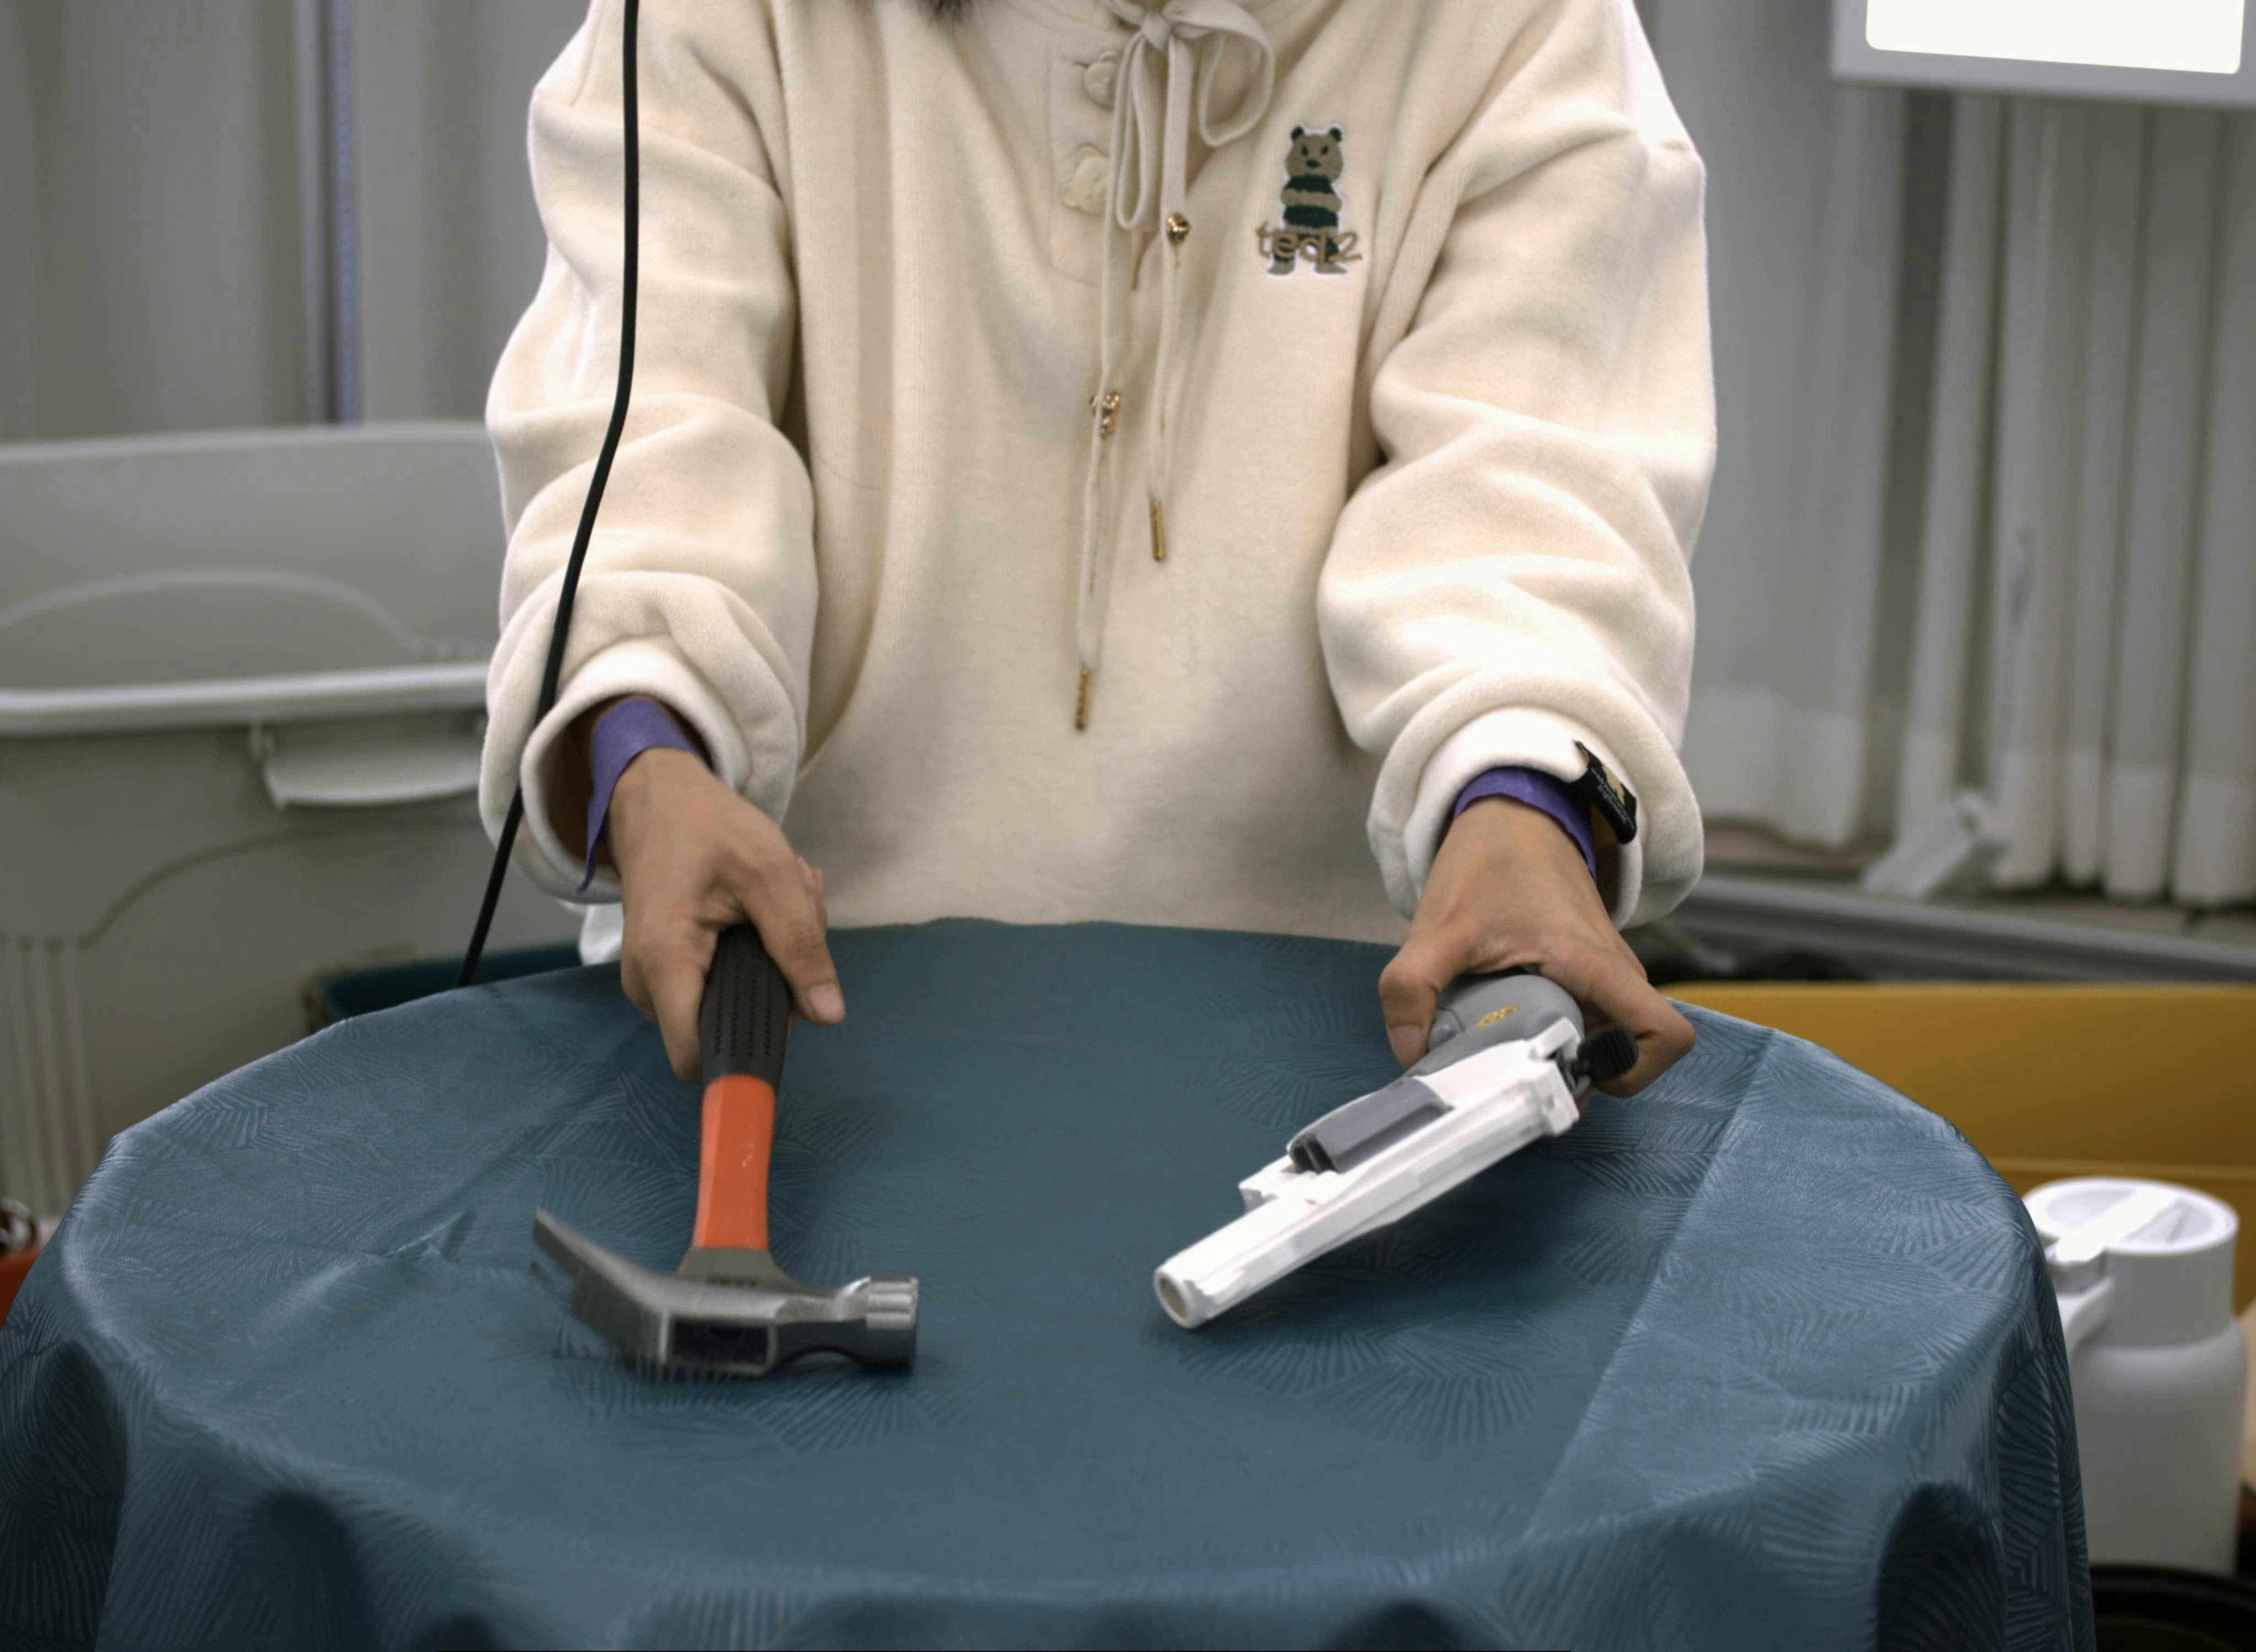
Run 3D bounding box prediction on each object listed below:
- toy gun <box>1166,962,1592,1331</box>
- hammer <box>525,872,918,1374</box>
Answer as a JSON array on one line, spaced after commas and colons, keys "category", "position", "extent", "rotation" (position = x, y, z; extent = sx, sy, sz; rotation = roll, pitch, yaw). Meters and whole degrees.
[{"category": "toy gun", "position": [0.074, 0.093, 1.587], "extent": [0.209, 0.039, 0.140], "rotation": [-28, 11, -27]}, {"category": "hammer", "position": [-0.118, 0.084, 1.578], "extent": [0.110, 0.026, 0.275], "rotation": [-6, 26, 1]}]
